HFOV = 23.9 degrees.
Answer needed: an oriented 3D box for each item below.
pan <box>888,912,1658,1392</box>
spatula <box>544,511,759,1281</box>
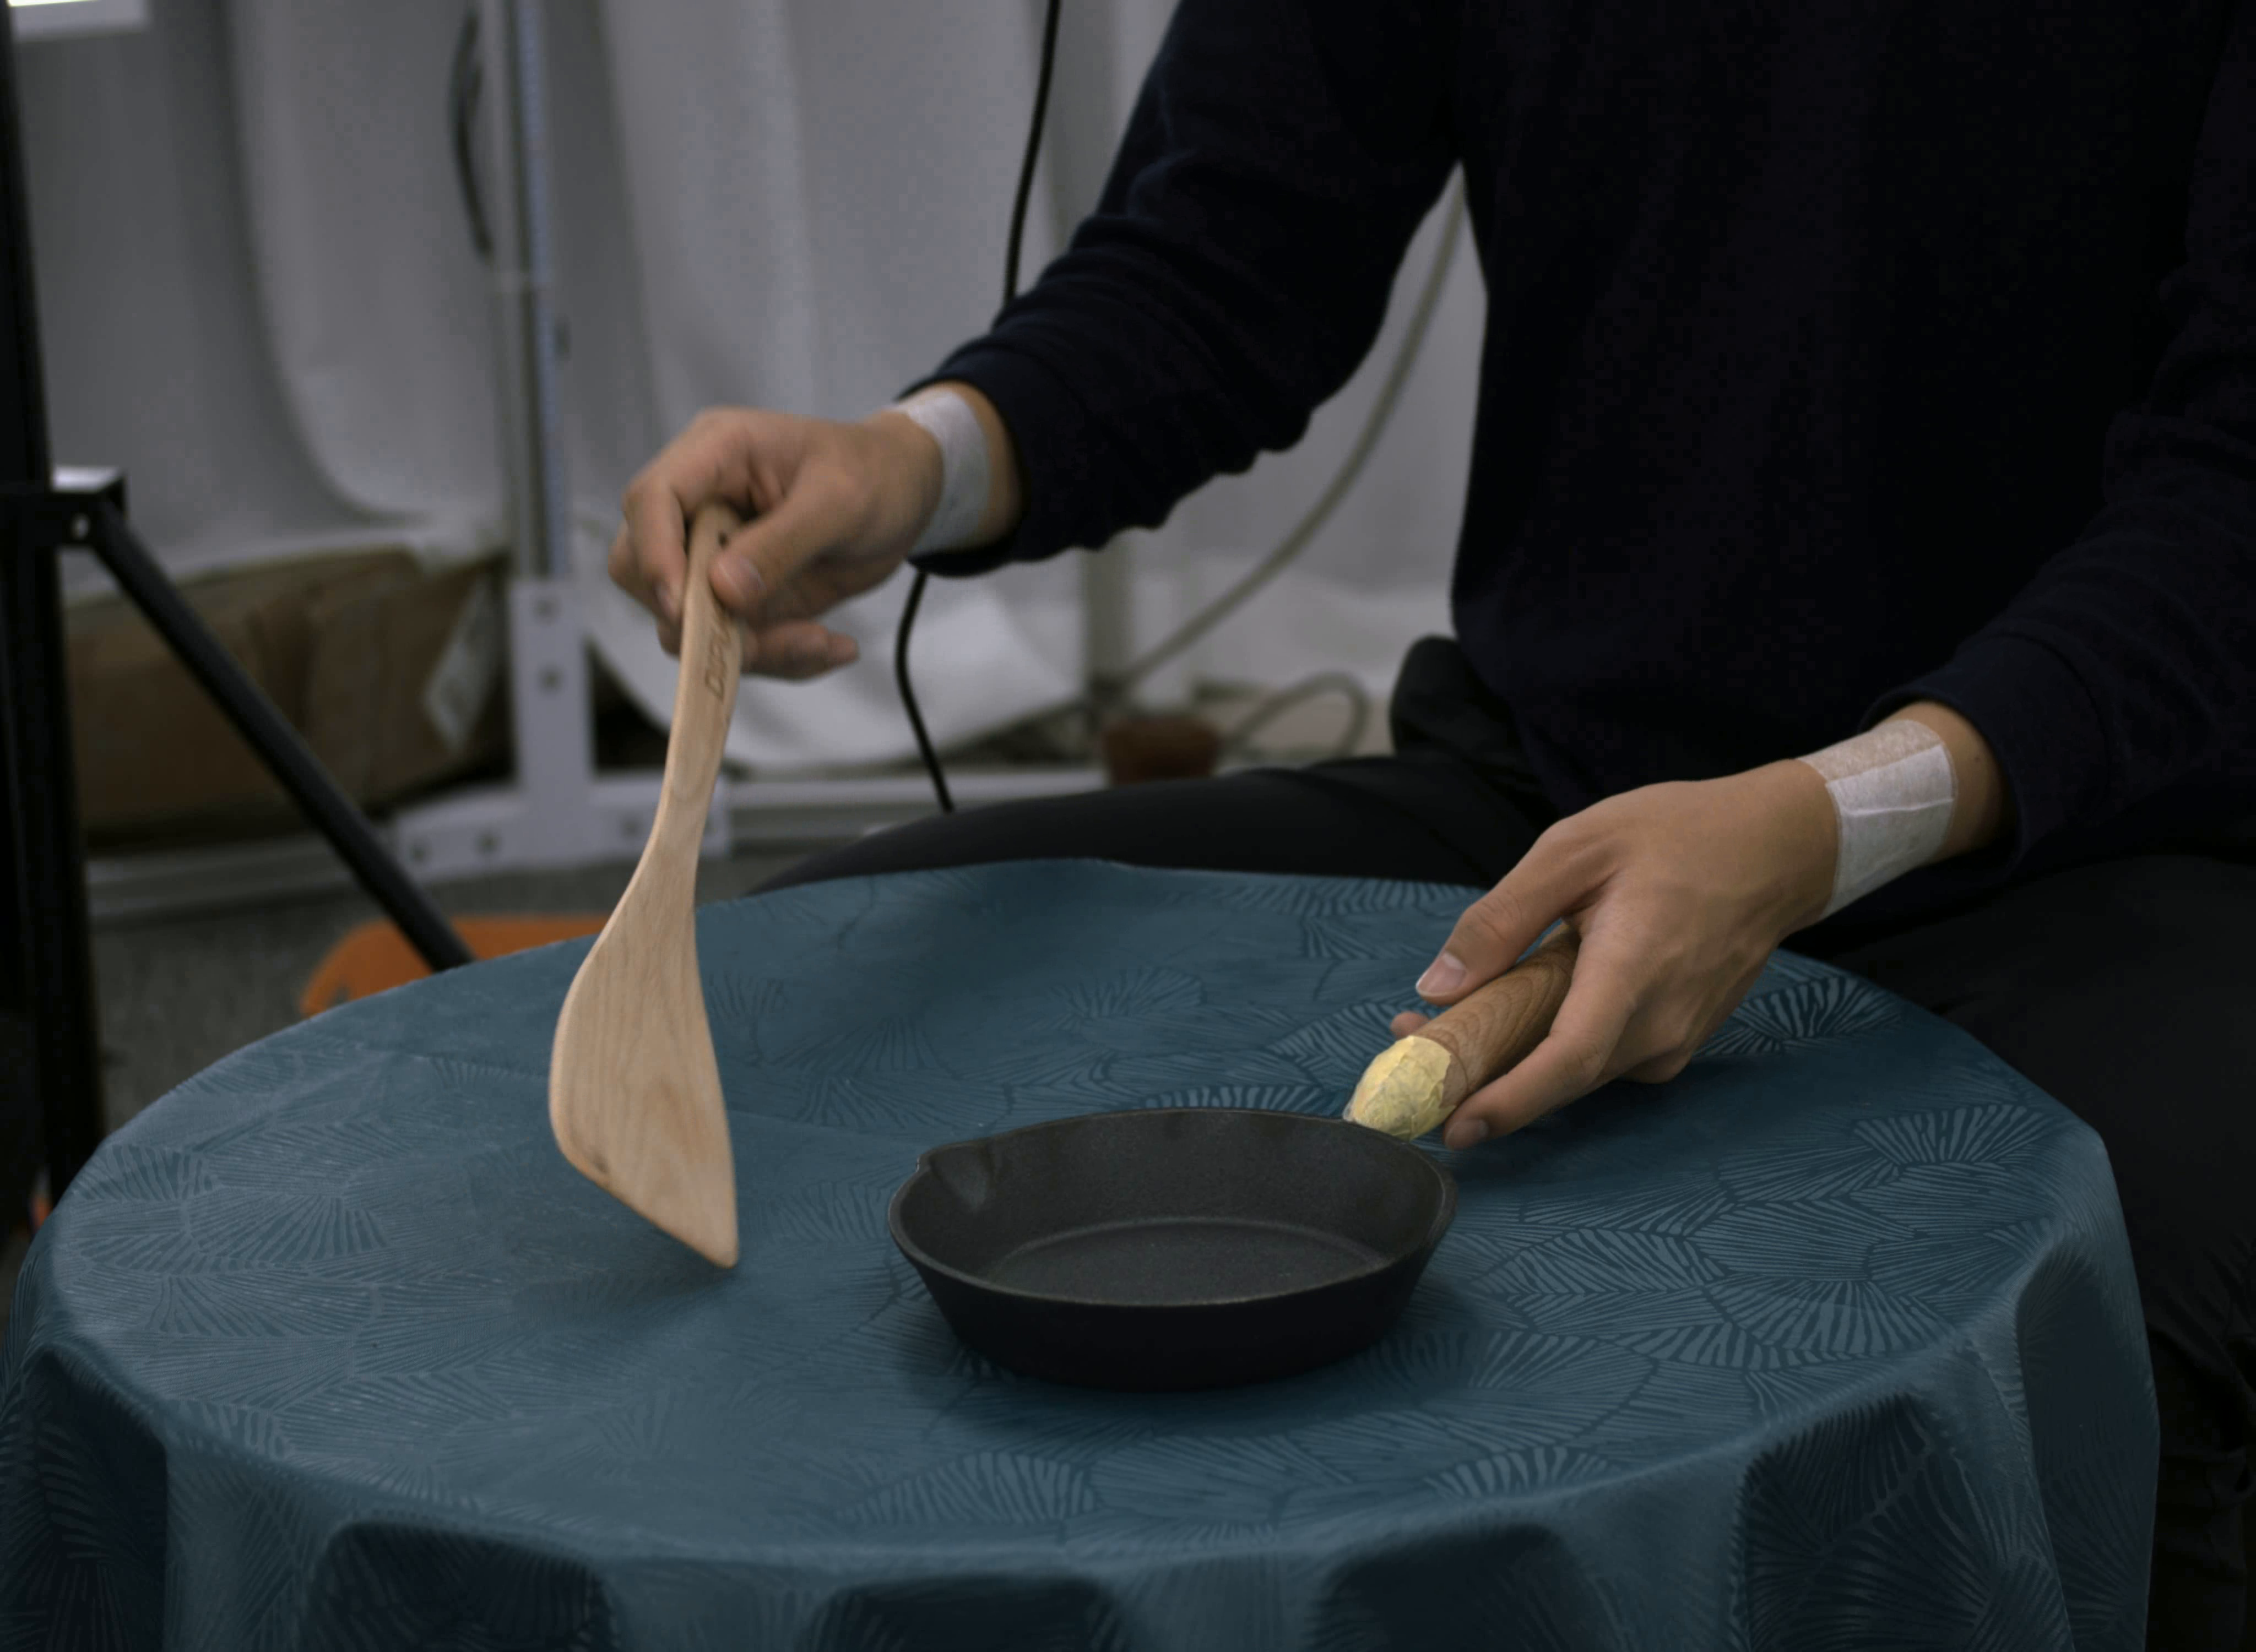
[{"bbox_3d":[0.064,0.089,1.519,0.172,0.049,0.317,10,22,38],"label":"pan"},{"bbox_3d":[-0.132,0.009,1.601,0.017,0.078,0.330,-28,33,25],"label":"spatula"}]
